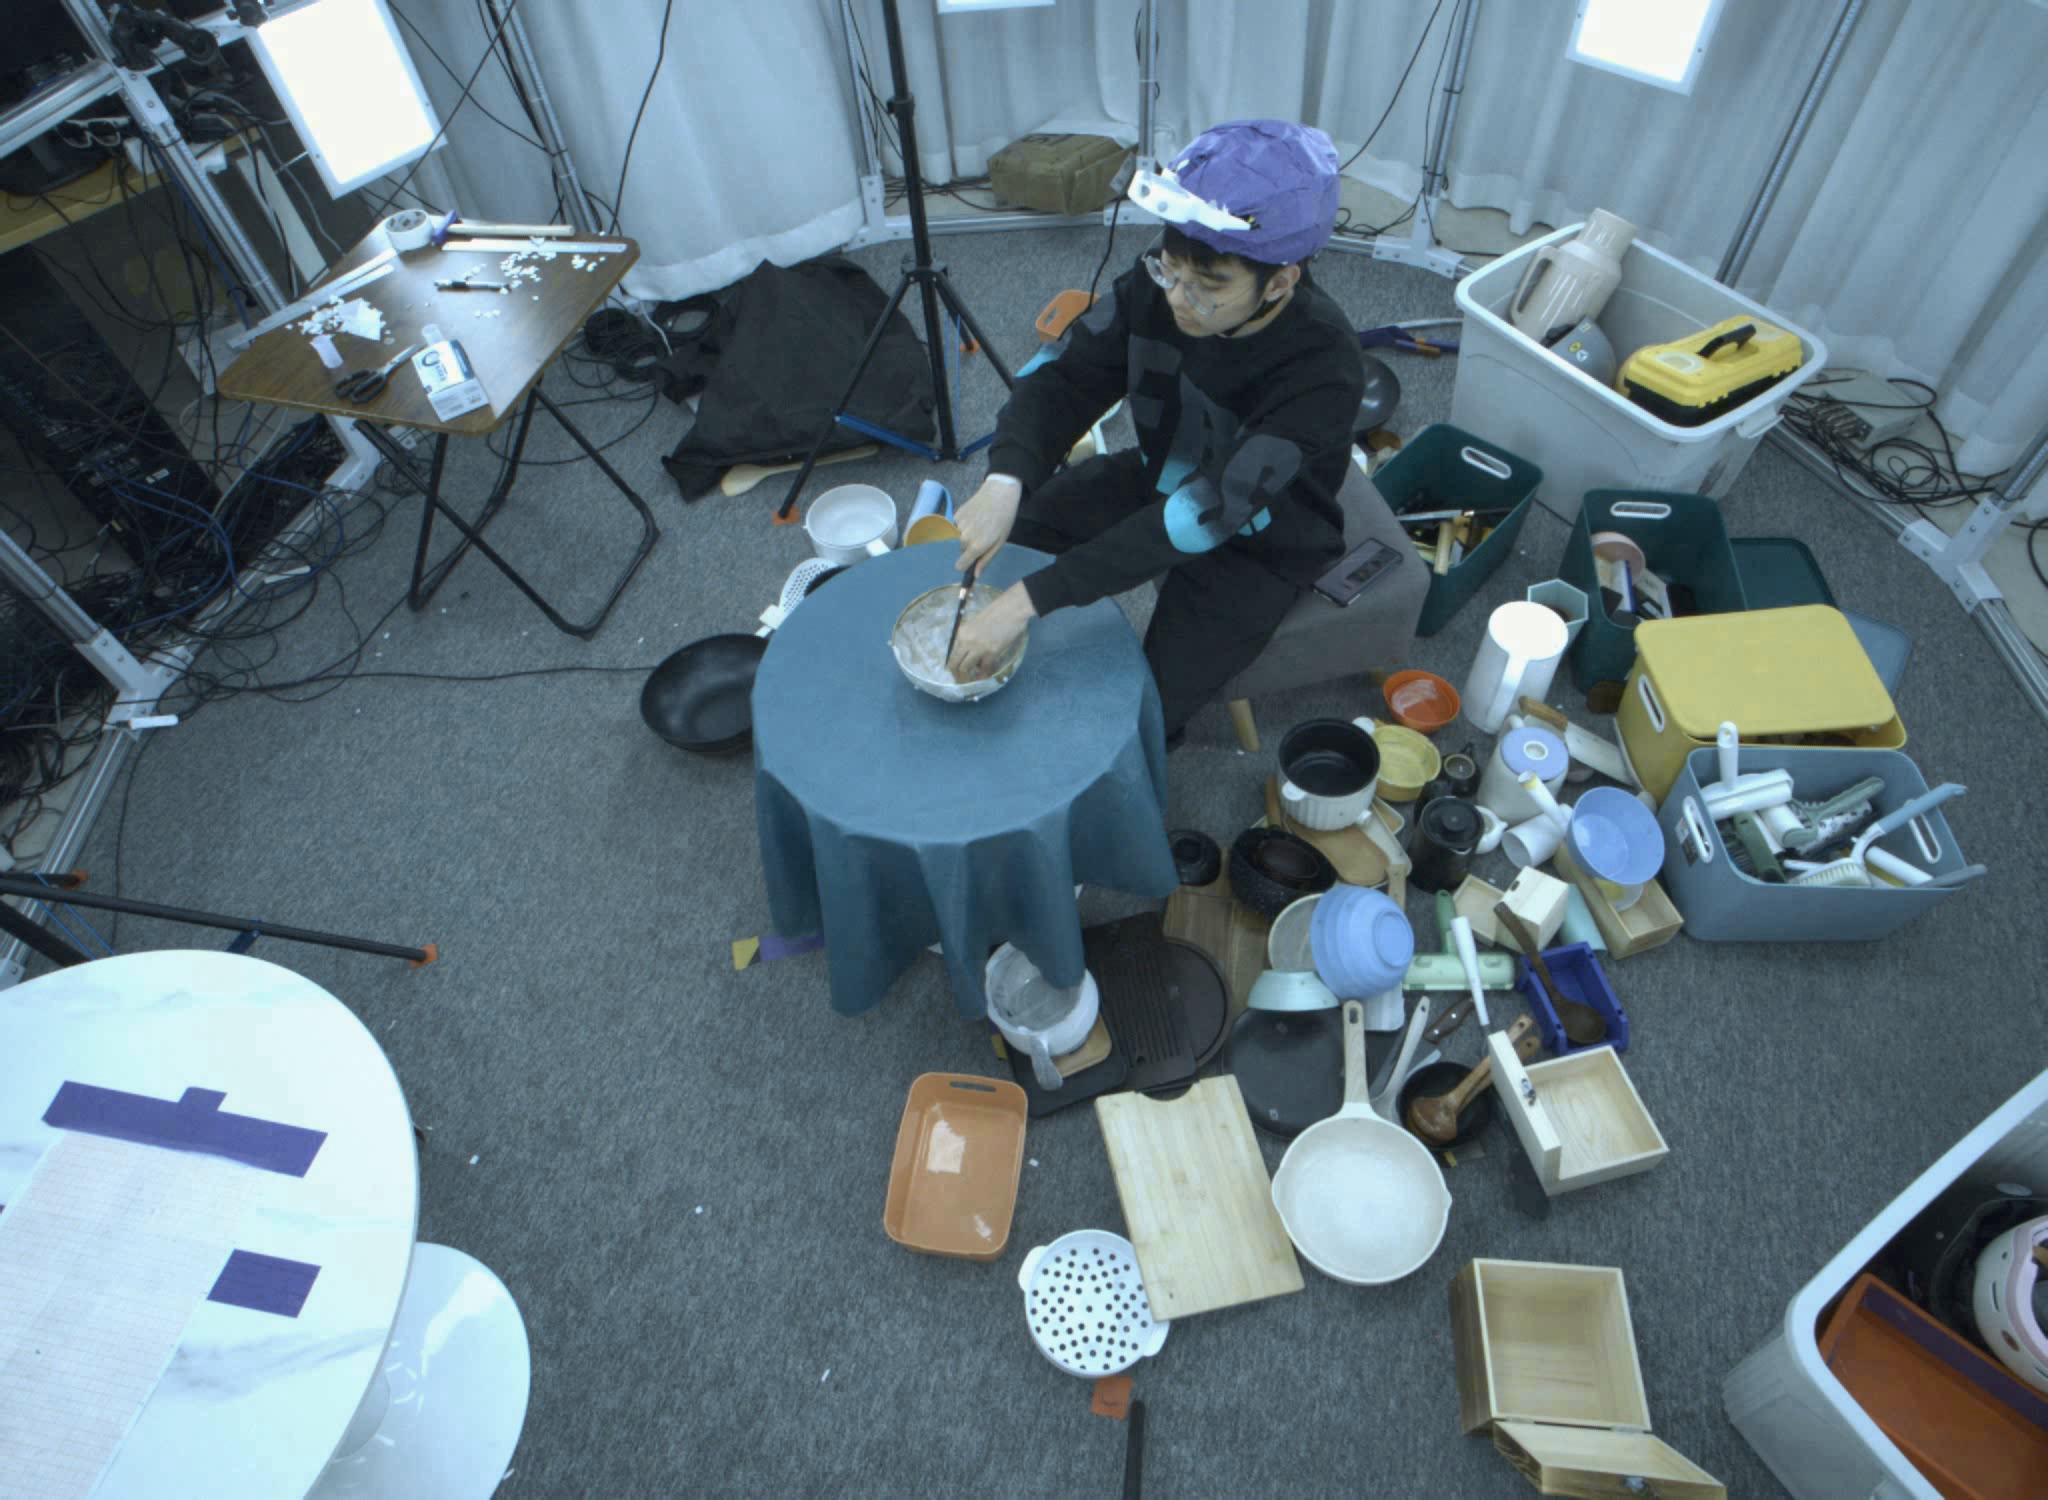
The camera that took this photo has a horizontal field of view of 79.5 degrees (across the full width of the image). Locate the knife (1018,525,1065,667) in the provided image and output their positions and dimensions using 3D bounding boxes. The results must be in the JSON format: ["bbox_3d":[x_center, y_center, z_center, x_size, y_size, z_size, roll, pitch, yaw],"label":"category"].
[{"bbox_3d":[0.022,-0.230,1.850,0.017,0.226,0.026,21,16,14],"label":"knife"}]

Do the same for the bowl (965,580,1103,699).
[{"bbox_3d":[0.019,-0.151,1.834,0.214,0.095,0.212,-1,54,3],"label":"bowl"}]
